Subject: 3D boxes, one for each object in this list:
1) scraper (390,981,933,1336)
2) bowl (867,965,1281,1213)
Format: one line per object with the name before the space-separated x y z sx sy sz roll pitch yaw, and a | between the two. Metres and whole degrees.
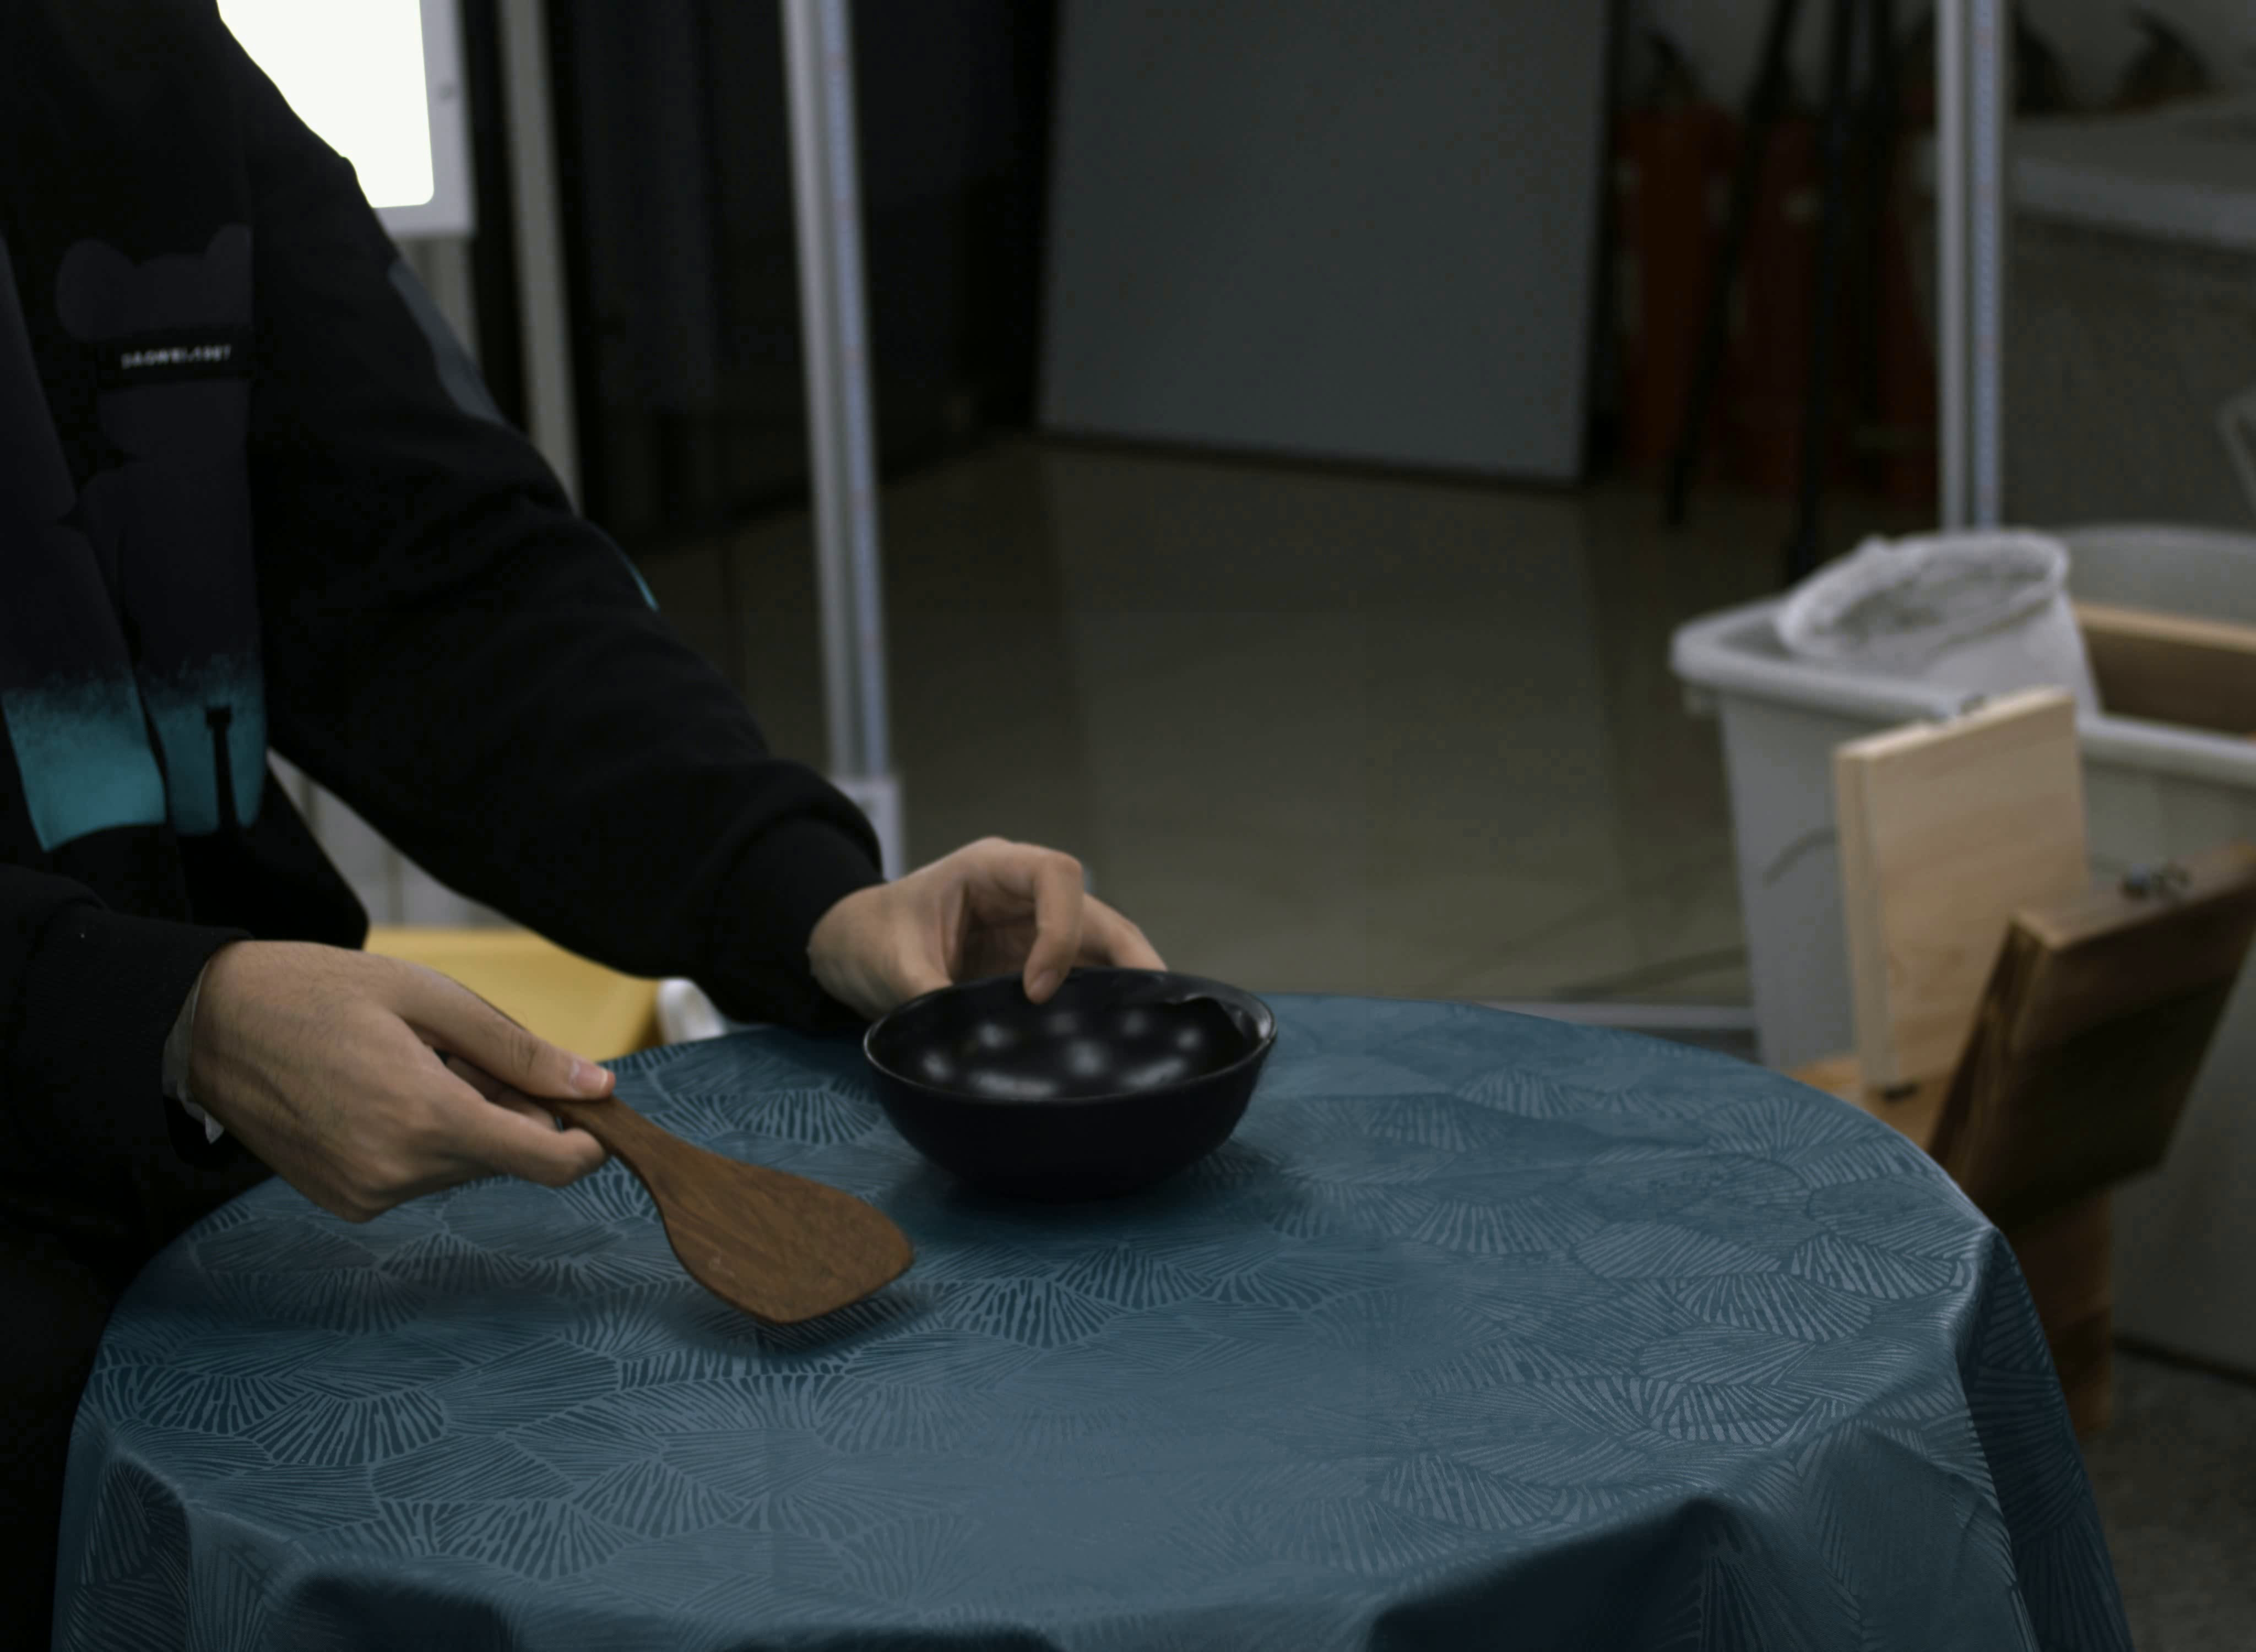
scraper | -0.155 0.102 1.709 0.213 0.011 0.074 31 36 31
bowl | -0.016 0.092 1.789 0.138 0.050 0.140 -6 17 1
